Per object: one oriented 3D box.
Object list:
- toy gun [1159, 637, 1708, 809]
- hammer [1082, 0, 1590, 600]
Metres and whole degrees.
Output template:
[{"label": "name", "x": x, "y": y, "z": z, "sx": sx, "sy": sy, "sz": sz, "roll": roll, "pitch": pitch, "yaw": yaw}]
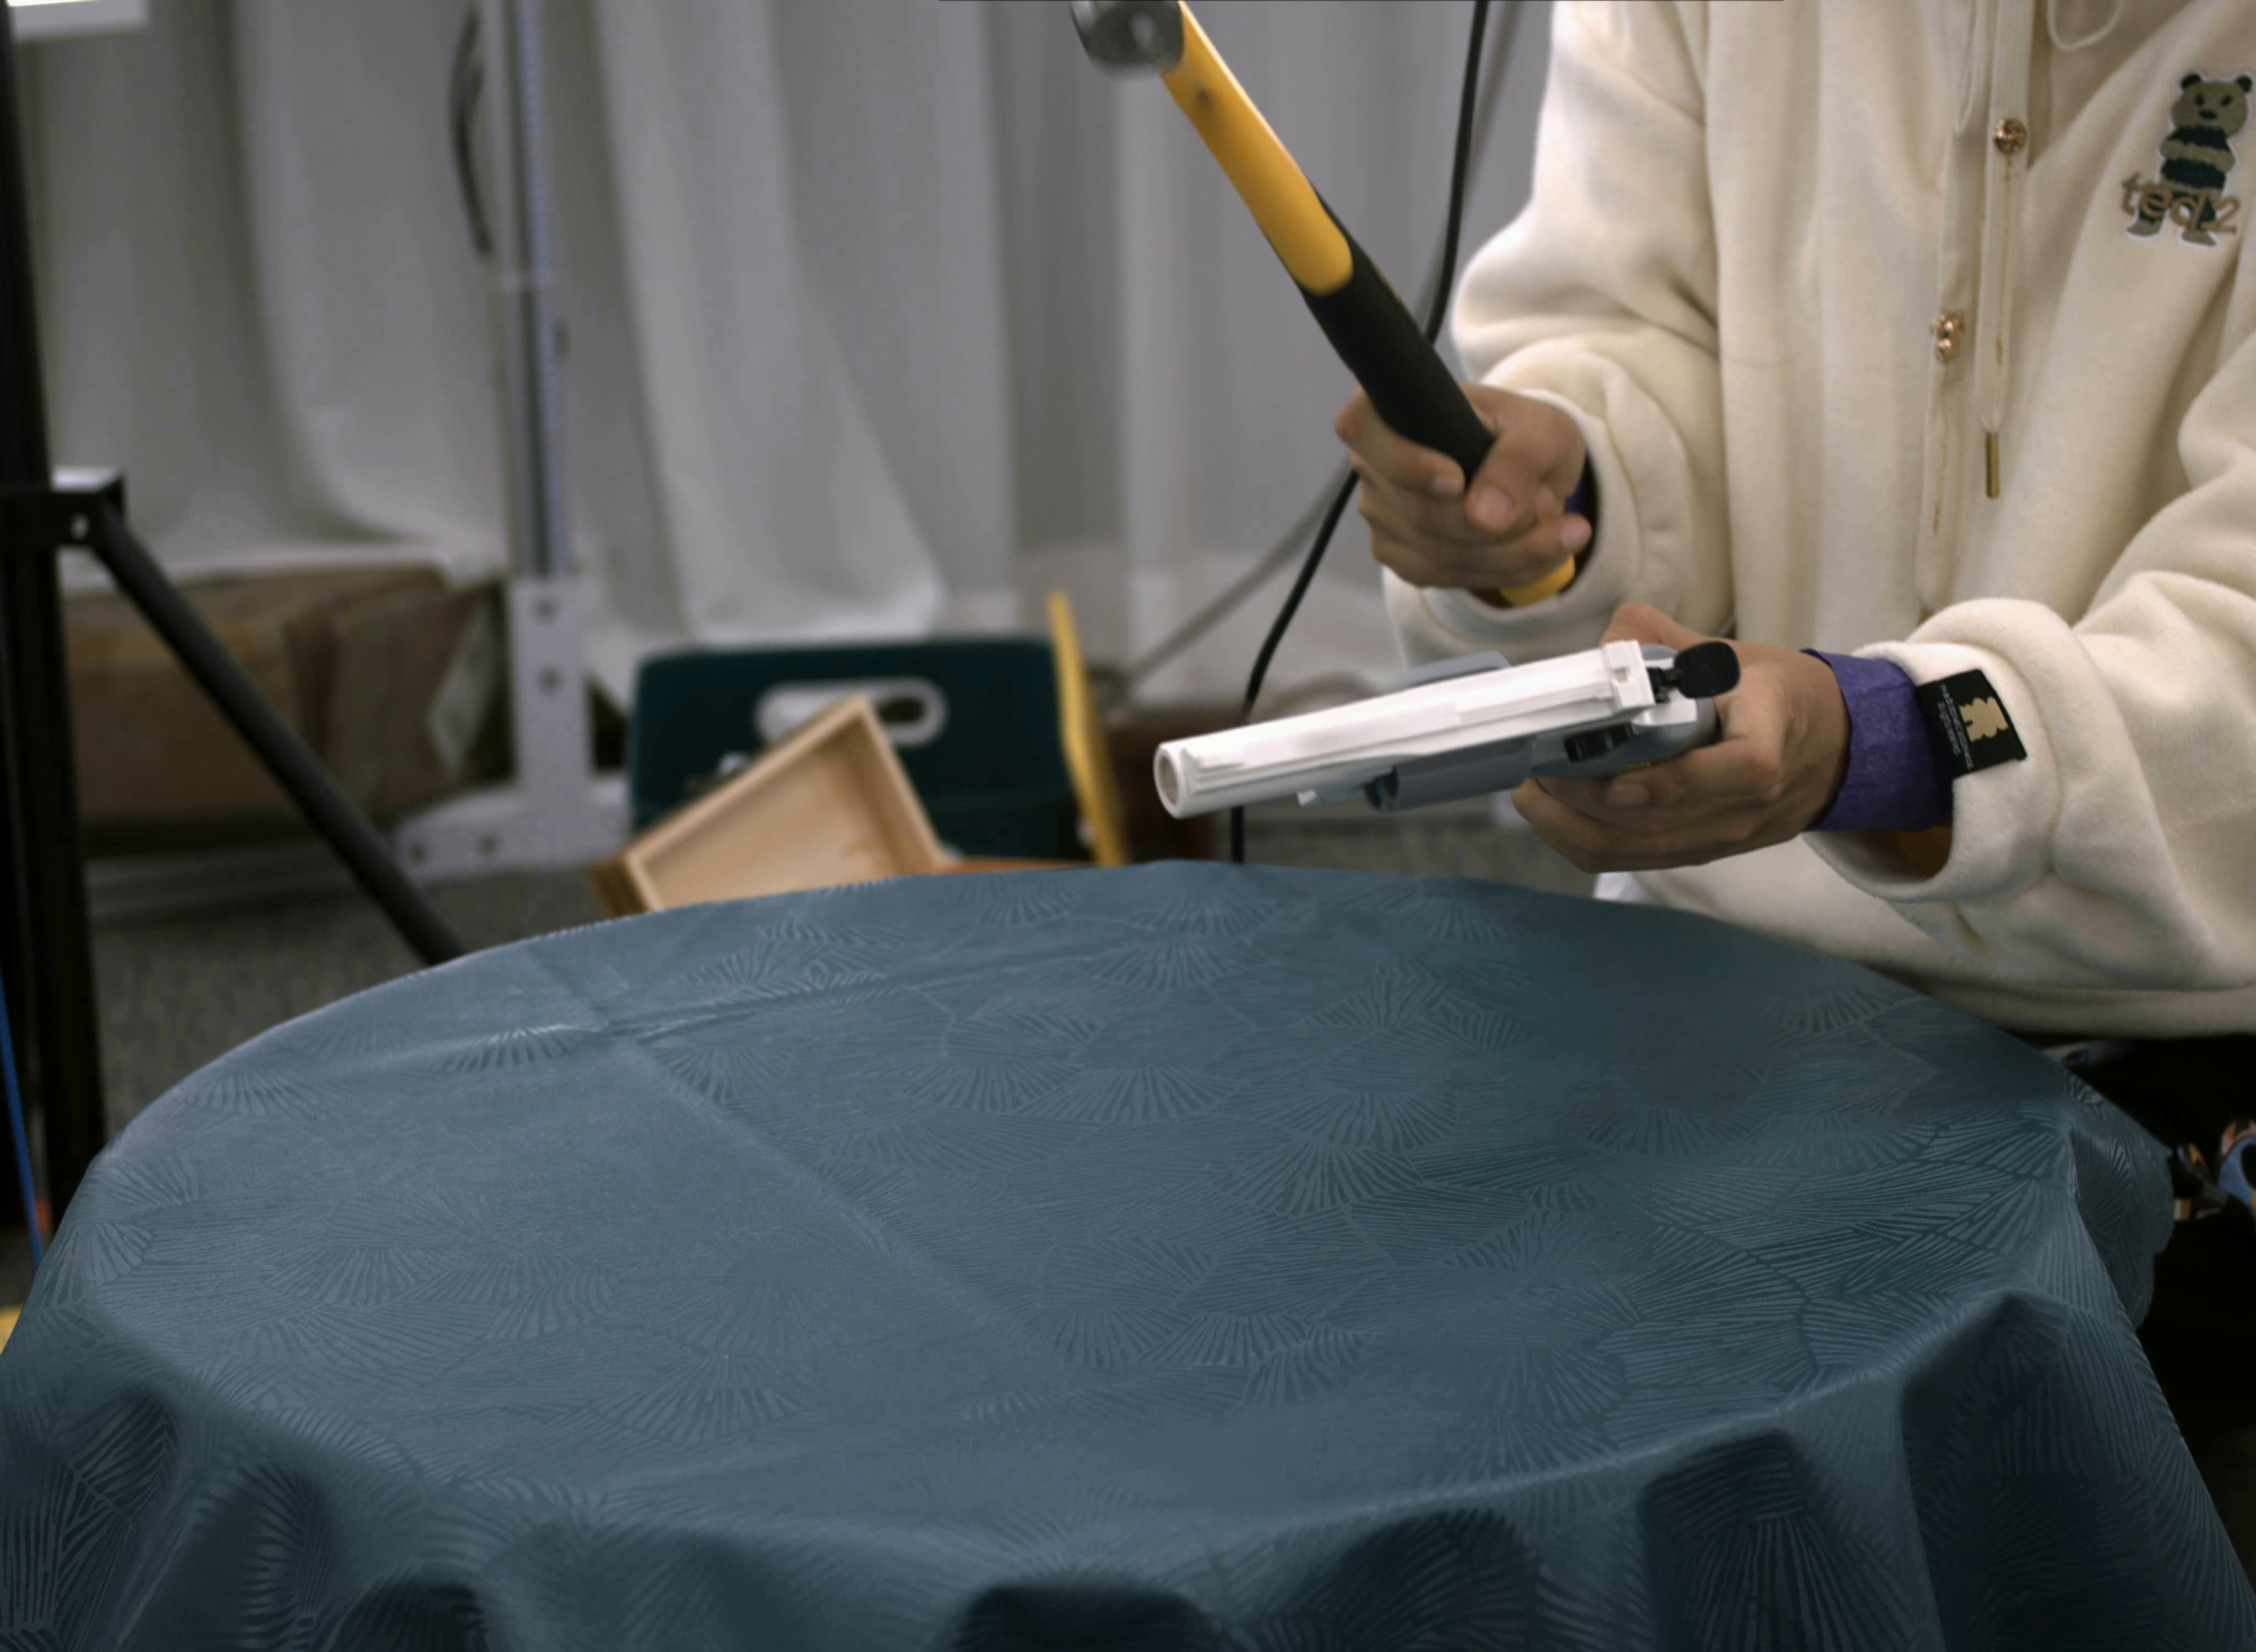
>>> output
[{"label": "toy gun", "x": 0.089, "y": -0.023, "z": 1.474, "sx": 0.205, "sy": 0.039, "sz": 0.143, "roll": -10, "pitch": -8, "yaw": -21}, {"label": "hammer", "x": 0.062, "y": -0.178, "z": 1.646, "sx": 0.032, "sy": 0.331, "sz": 0.134, "roll": -32, "pitch": 44, "yaw": 10}]
